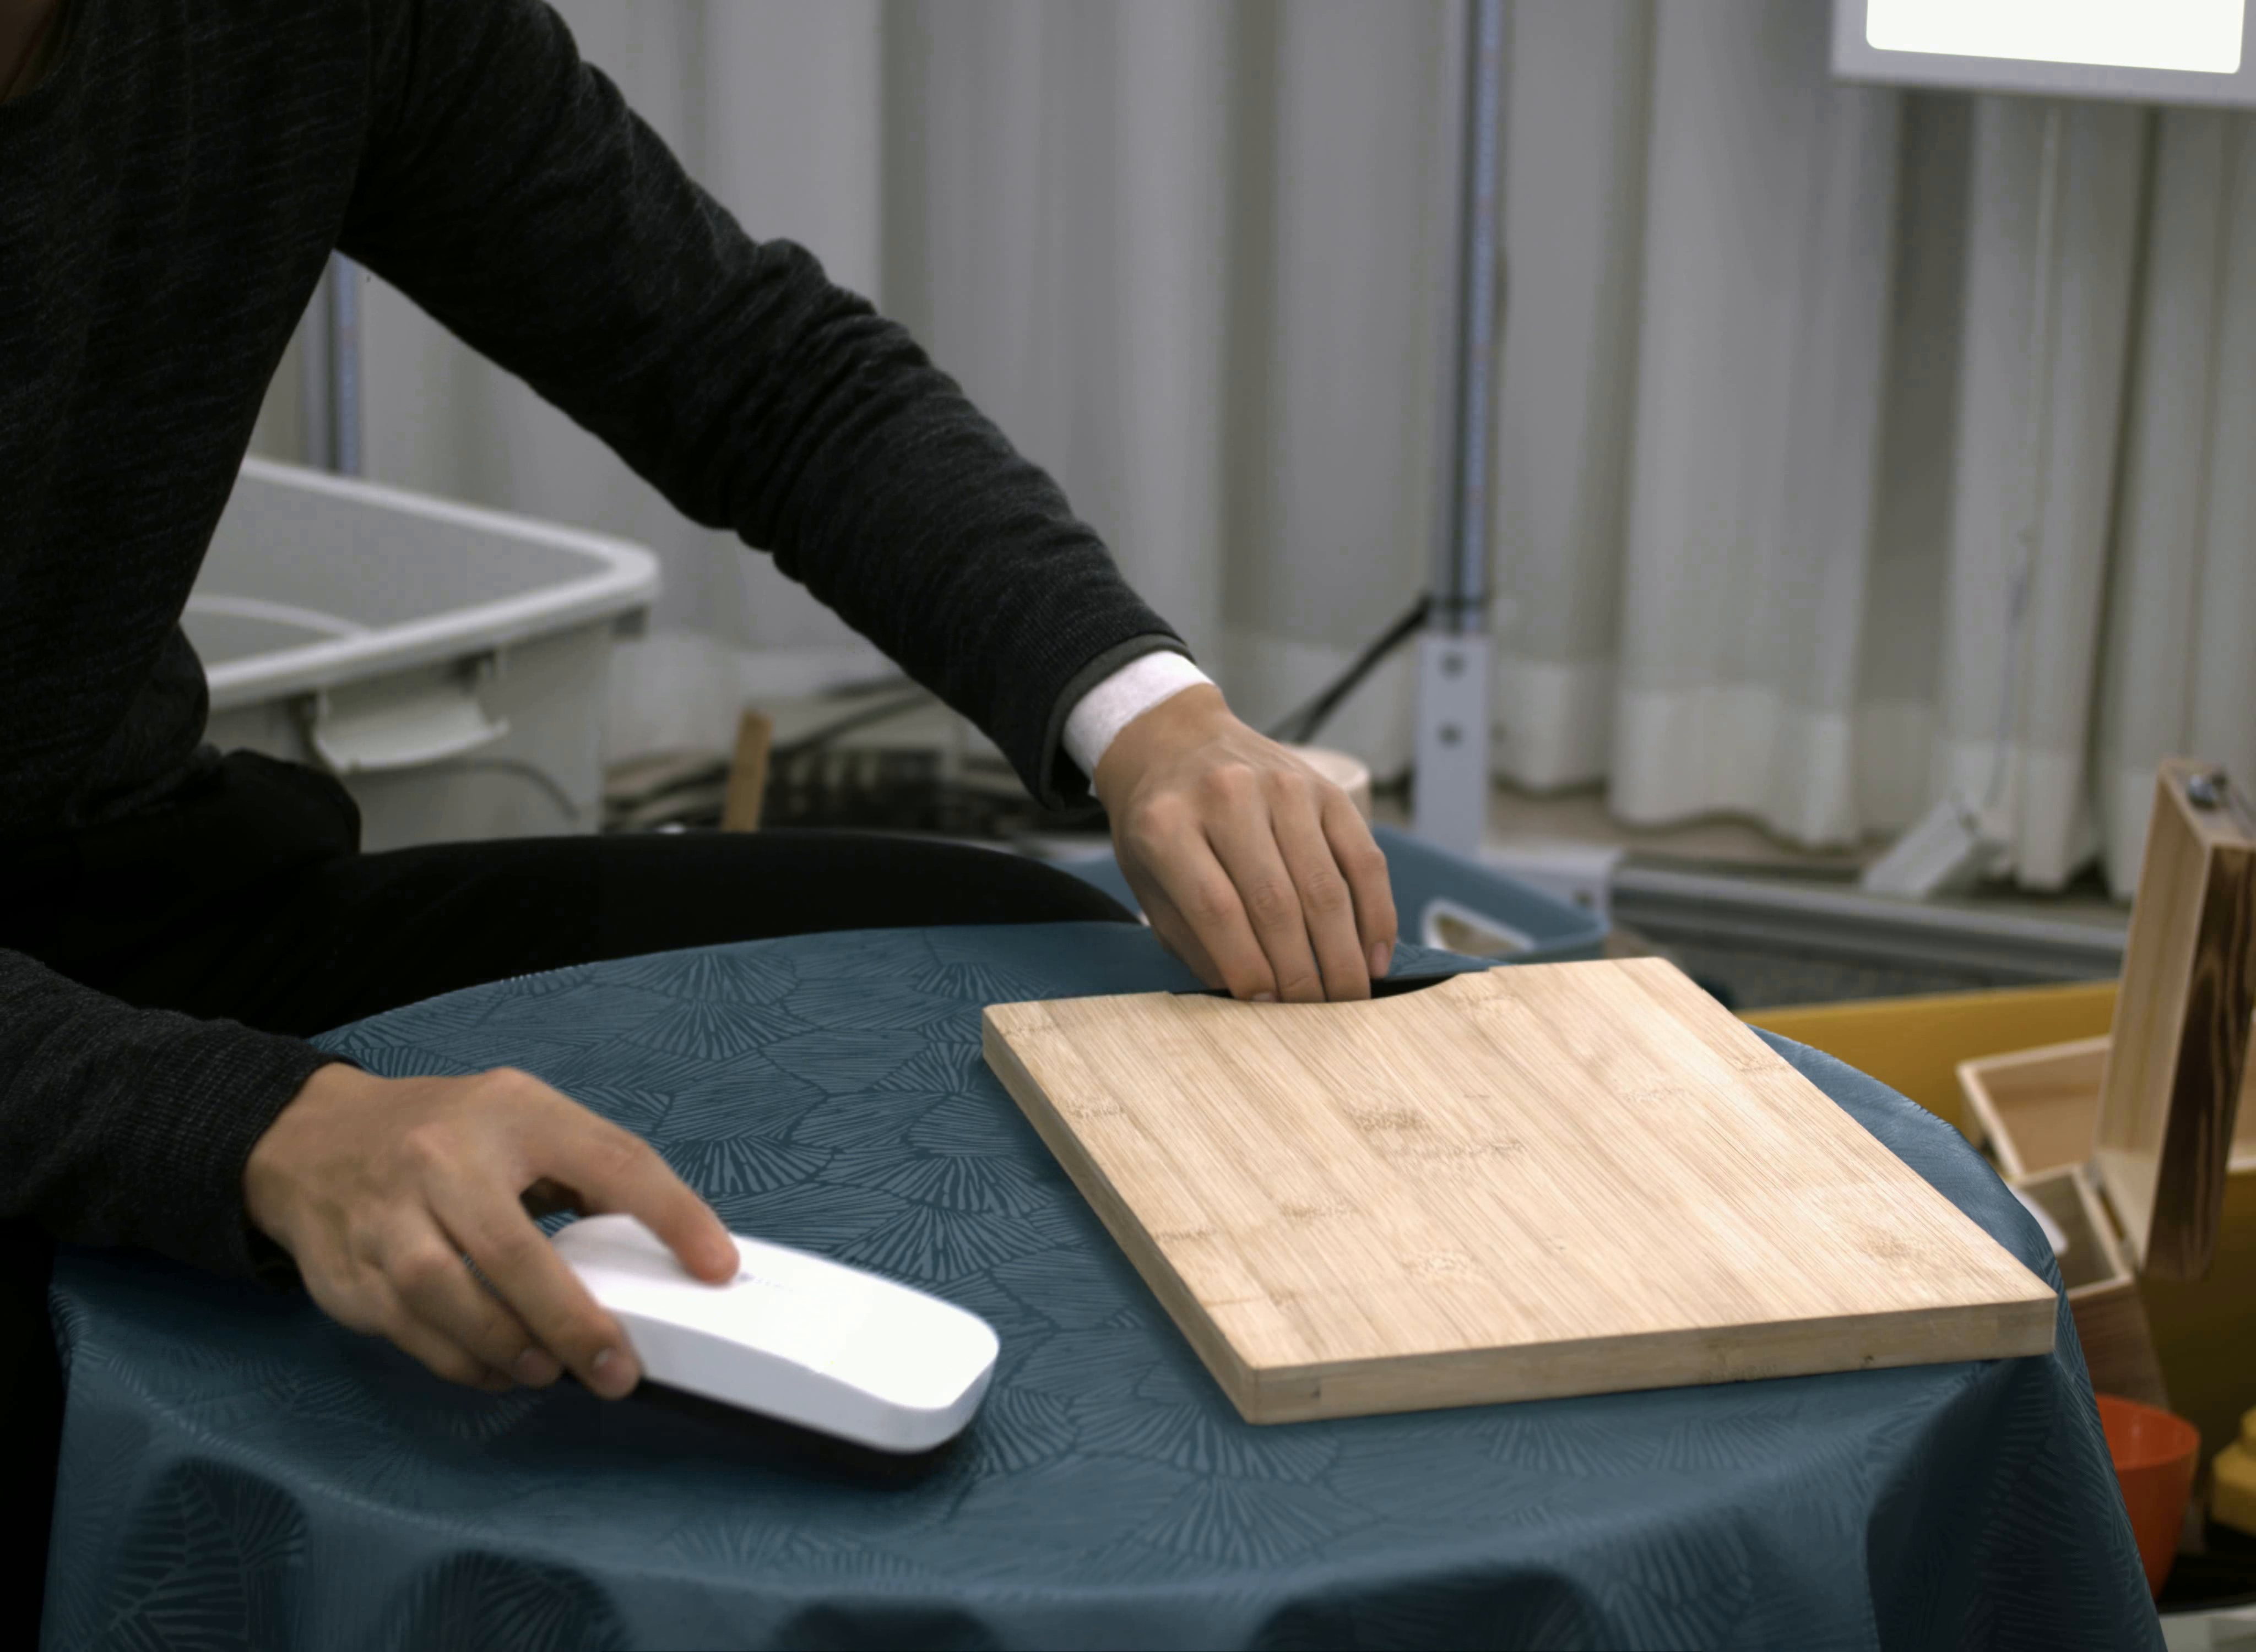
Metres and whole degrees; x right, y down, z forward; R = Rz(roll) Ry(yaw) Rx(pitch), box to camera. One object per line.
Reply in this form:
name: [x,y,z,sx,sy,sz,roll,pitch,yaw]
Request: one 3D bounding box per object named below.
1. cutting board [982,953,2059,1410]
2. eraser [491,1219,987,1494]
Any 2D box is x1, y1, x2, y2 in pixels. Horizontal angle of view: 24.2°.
cutting board: [0.107,0.103,1.625,0.251,0.024,0.345,-3,16,-15]
eraser: [-0.105,0.139,1.416,0.130,0.035,0.063,17,22,16]
